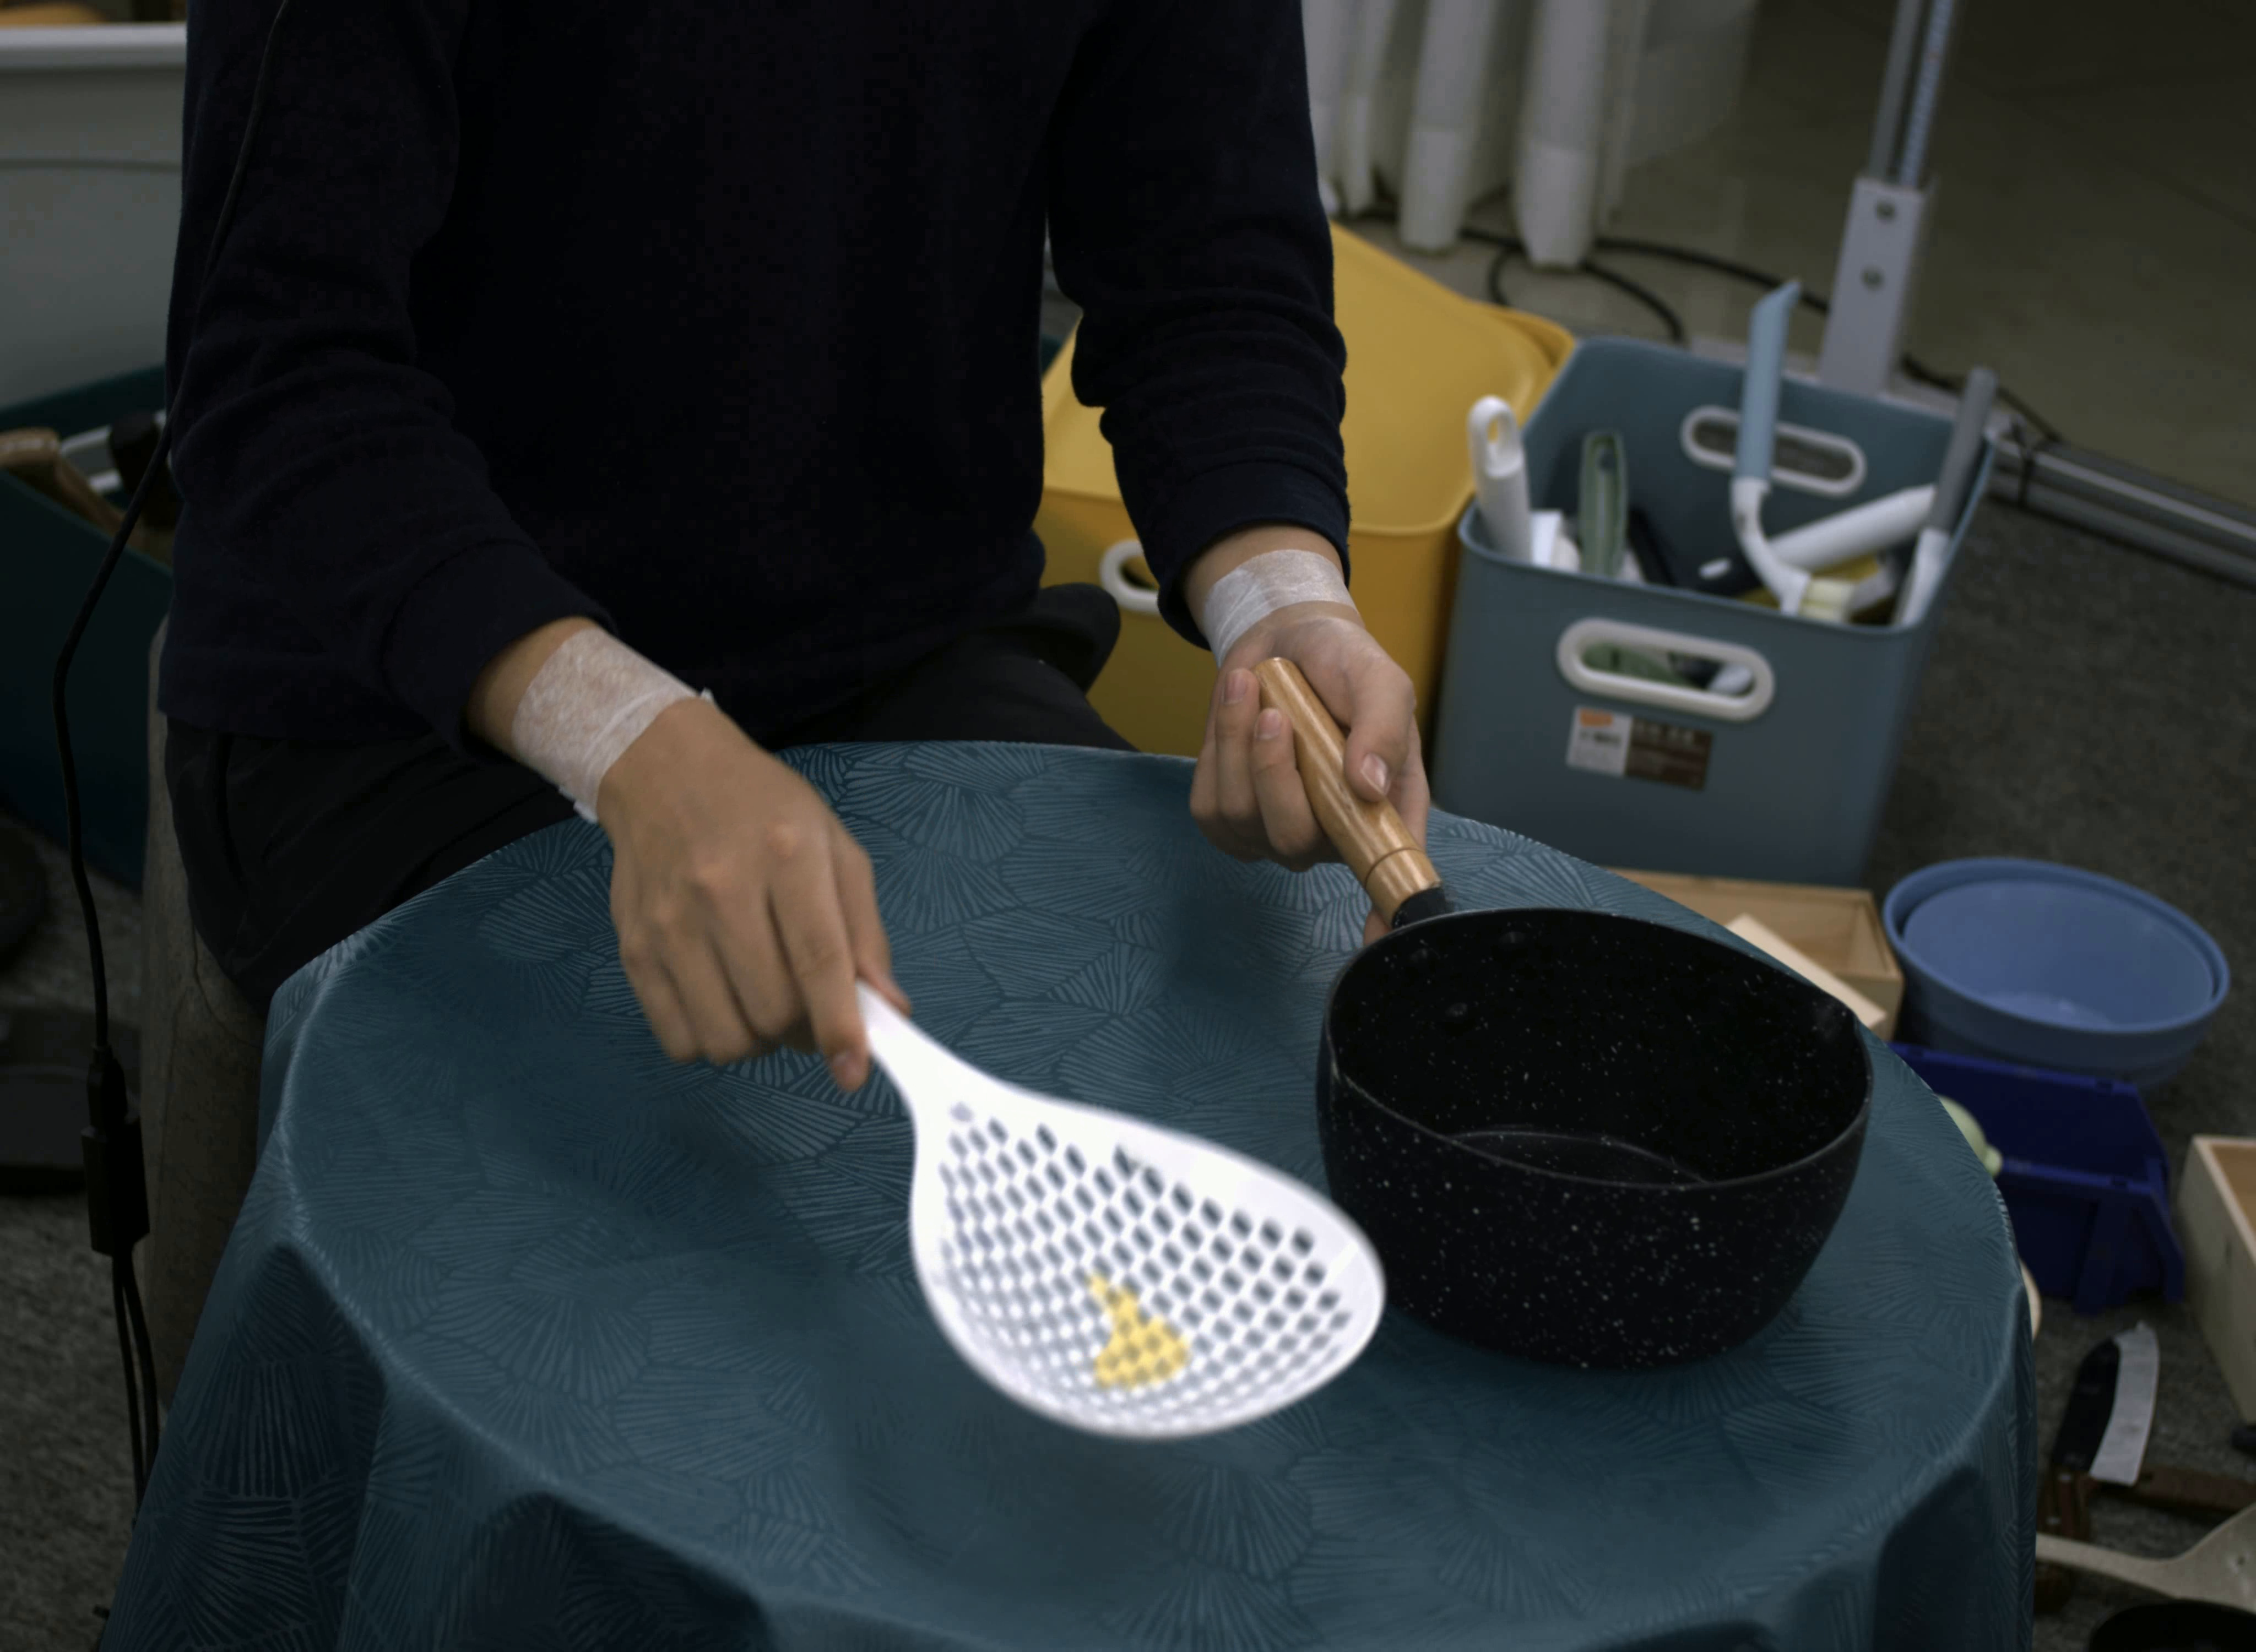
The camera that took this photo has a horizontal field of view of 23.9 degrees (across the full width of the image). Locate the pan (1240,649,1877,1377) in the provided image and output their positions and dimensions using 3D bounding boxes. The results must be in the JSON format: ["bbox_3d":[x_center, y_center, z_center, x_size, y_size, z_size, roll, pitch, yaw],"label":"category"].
[{"bbox_3d":[0.117,0.061,1.832,0.206,0.108,0.346,-9,32,-26],"label":"pan"}]

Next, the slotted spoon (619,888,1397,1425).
[{"bbox_3d":[-0.055,0.092,1.697,0.136,0.050,0.351,-24,45,-30],"label":"slotted spoon"}]
